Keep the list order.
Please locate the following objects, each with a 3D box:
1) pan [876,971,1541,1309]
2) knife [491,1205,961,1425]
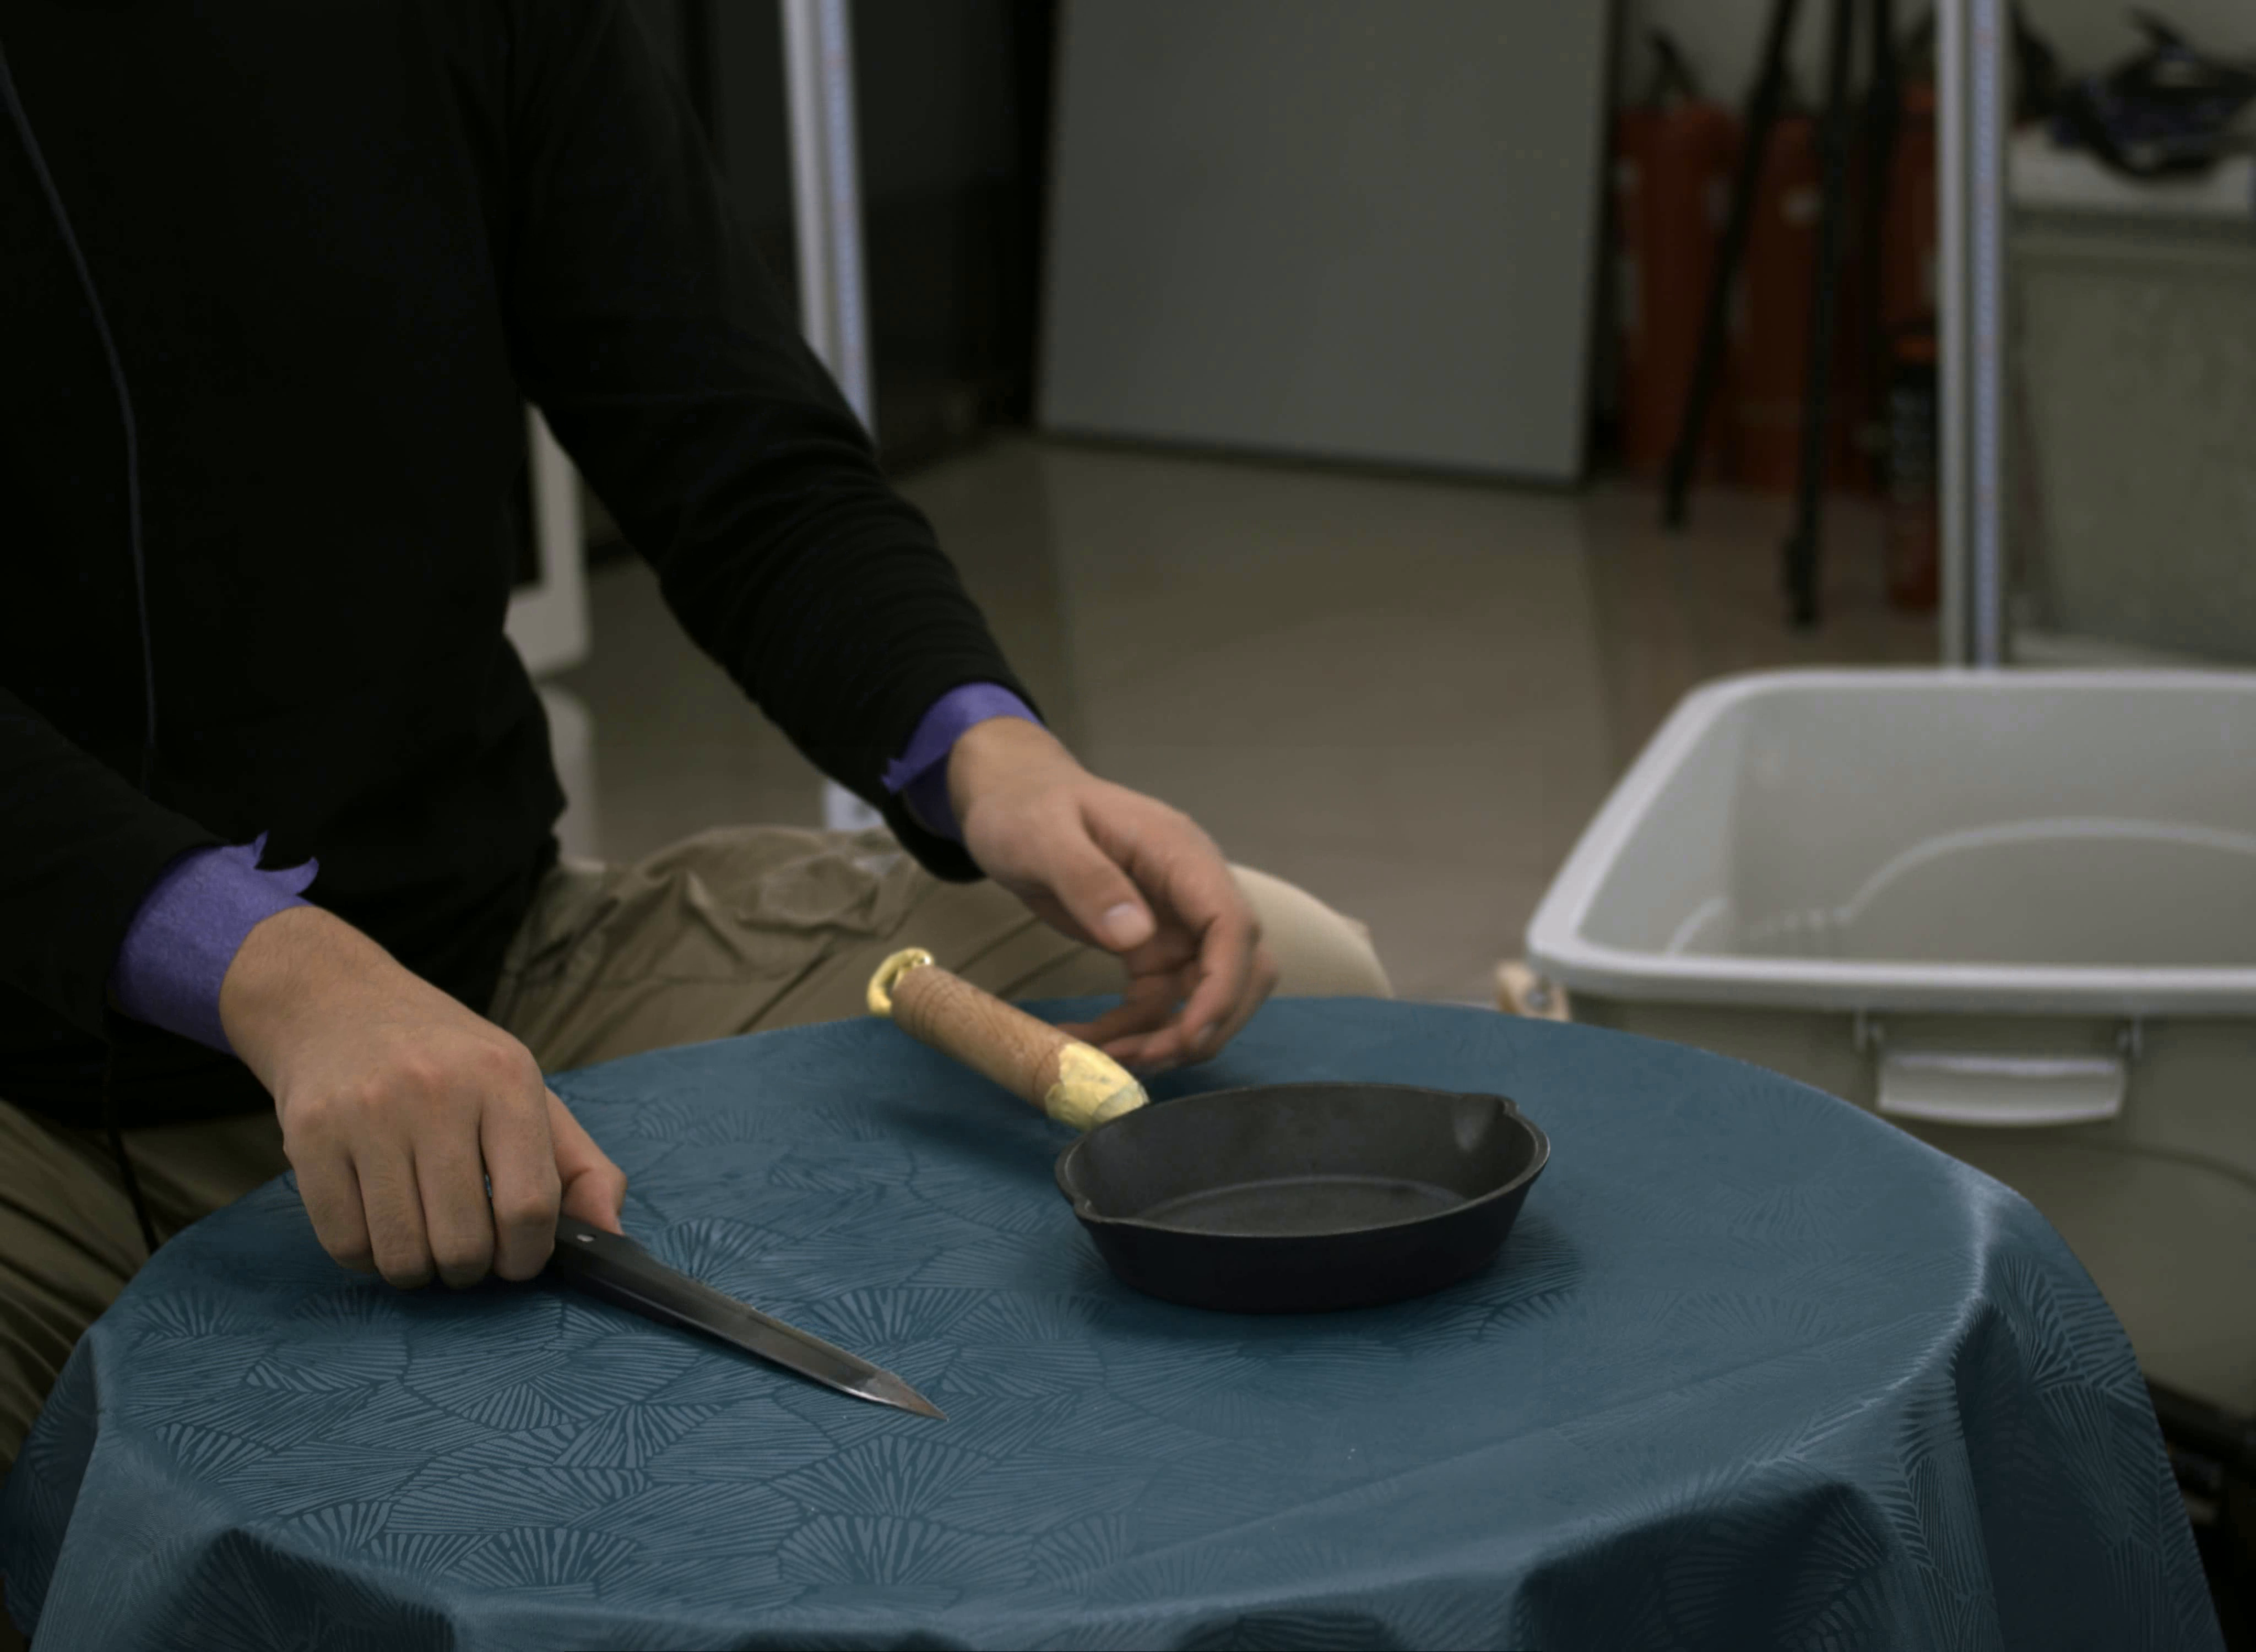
[{"bbox_3d":[0.008,0.098,1.768,0.165,0.050,0.327,-12,15,-30],"label":"pan"},{"bbox_3d":[-0.128,0.152,1.666,0.024,0.016,0.240,-10,17,-38],"label":"knife"}]
